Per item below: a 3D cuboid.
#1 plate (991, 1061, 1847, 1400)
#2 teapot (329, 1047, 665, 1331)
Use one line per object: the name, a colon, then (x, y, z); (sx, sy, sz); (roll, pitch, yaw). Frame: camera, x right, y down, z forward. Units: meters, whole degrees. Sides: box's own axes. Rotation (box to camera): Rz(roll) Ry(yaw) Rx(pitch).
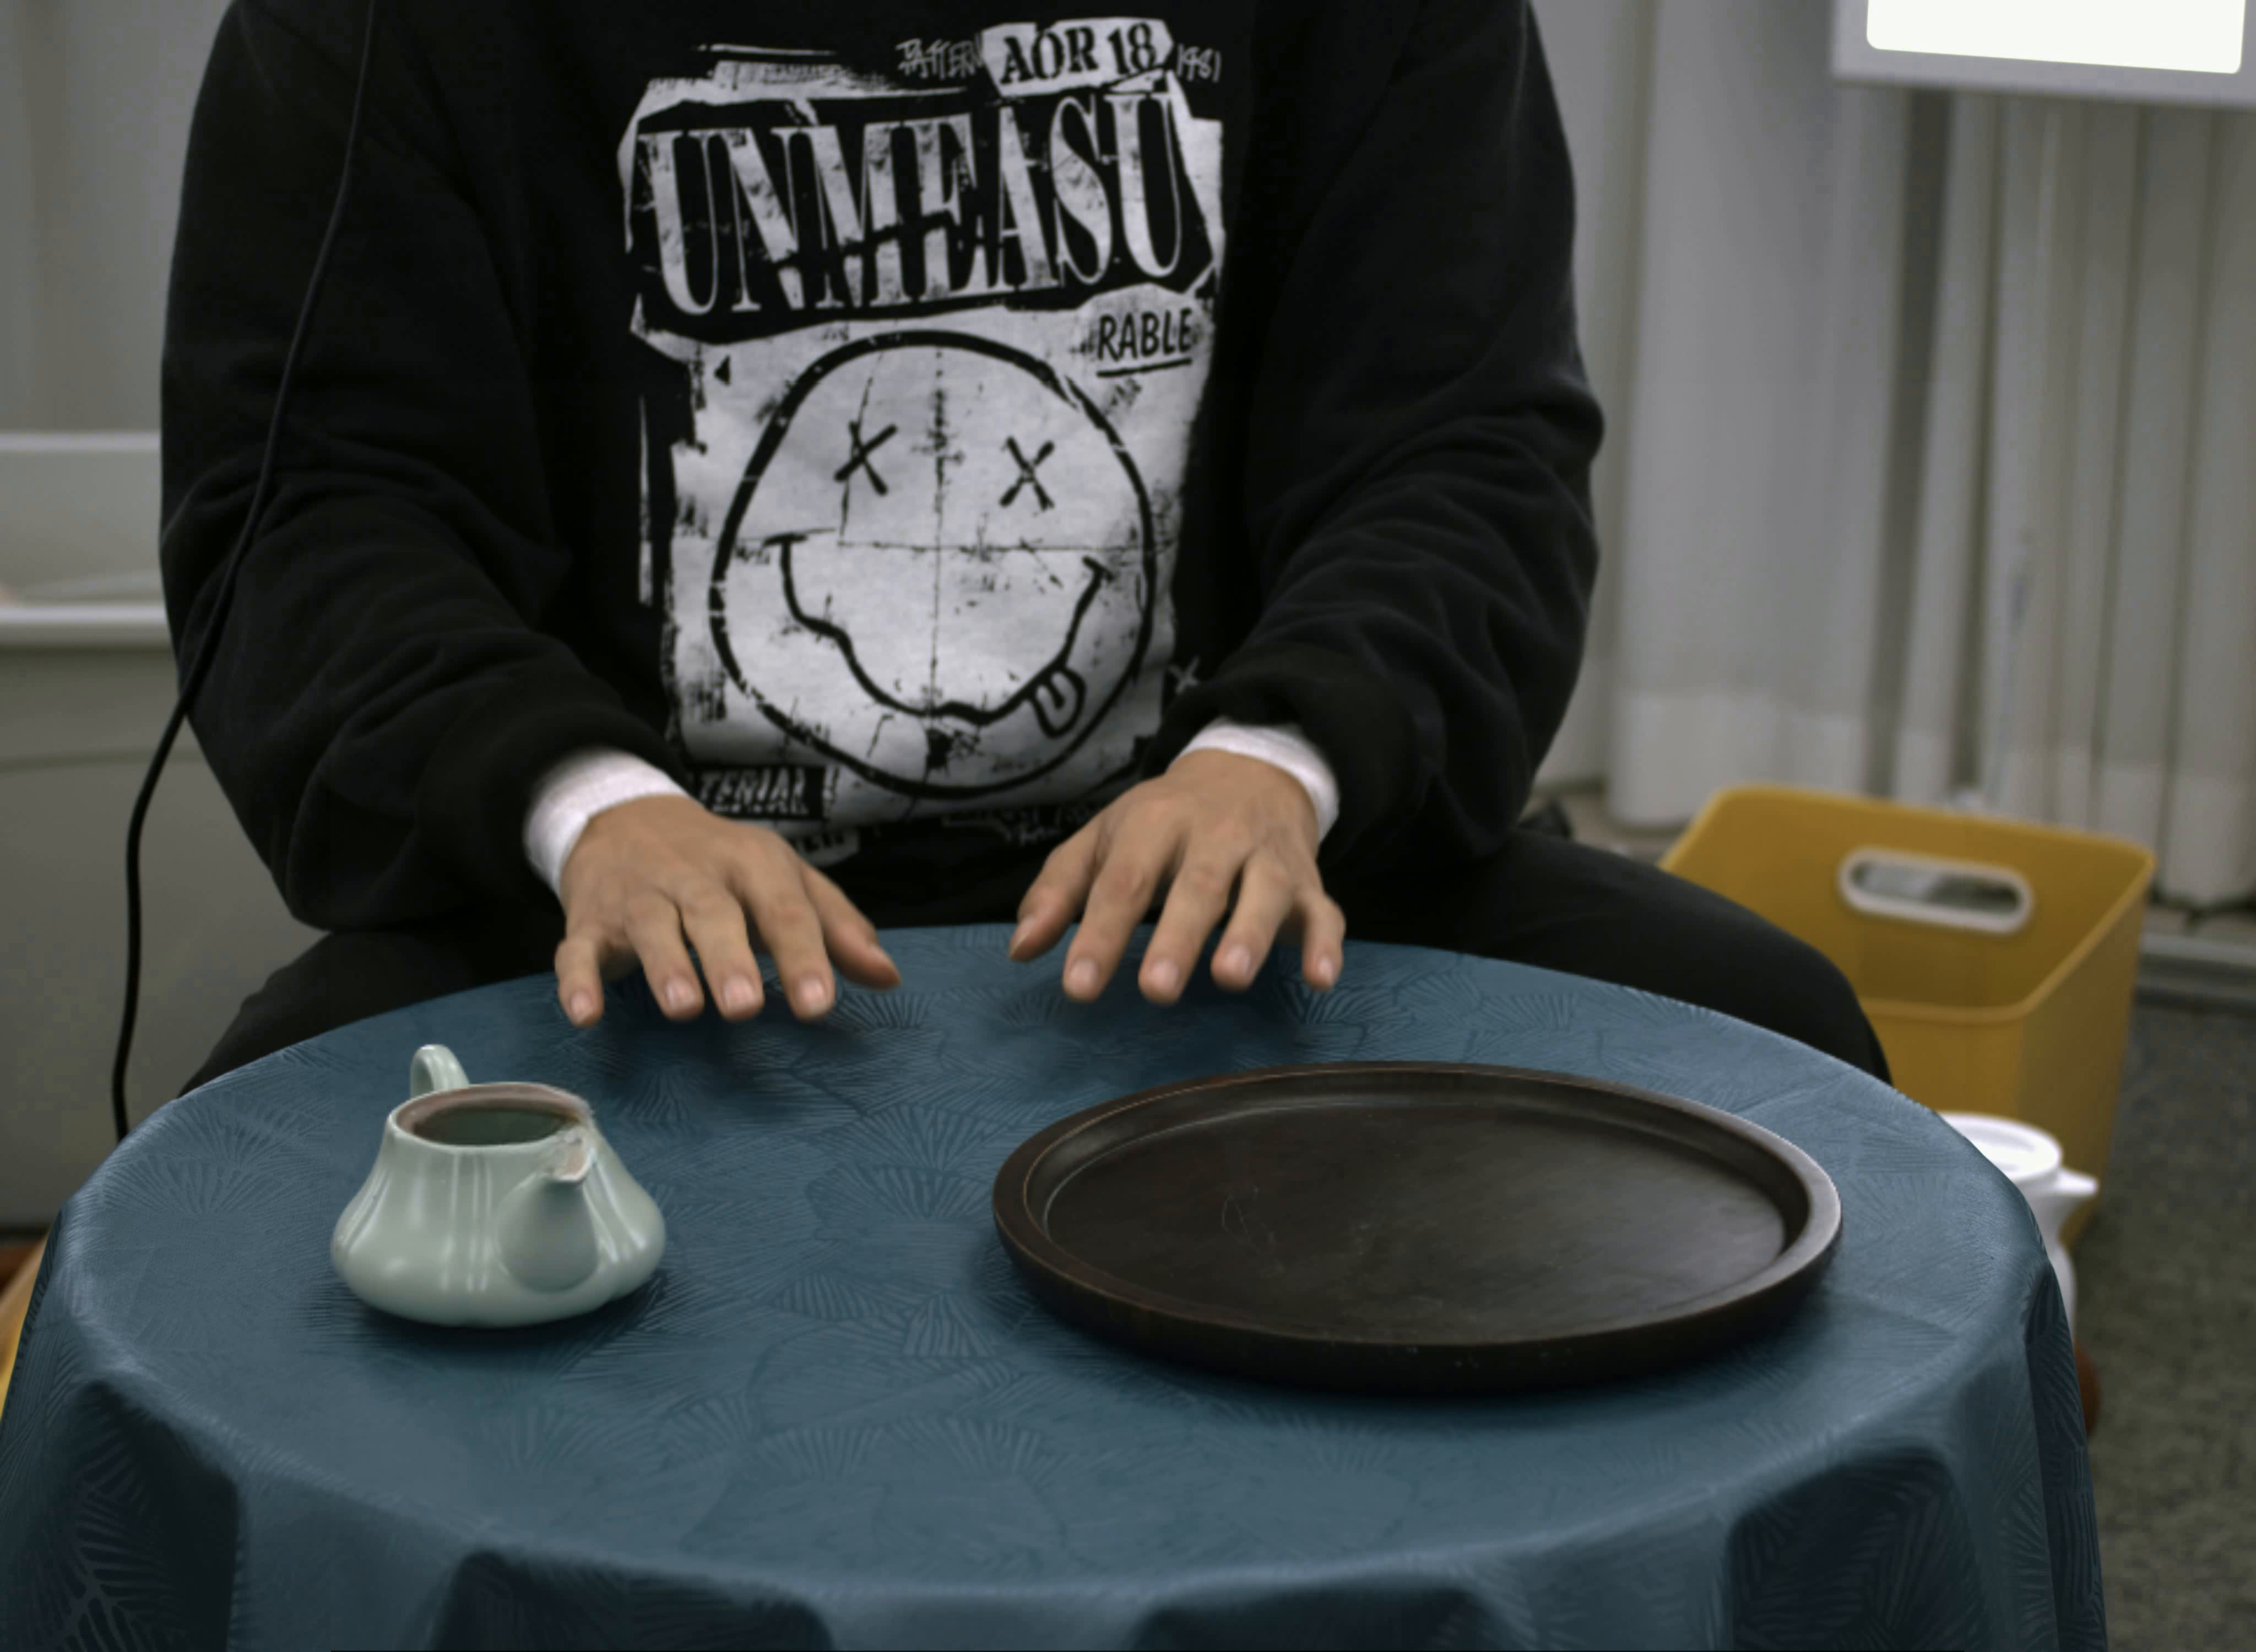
plate: (0.086, 0.117, 1.562); (0.254, 0.029, 0.253); (0, 17, 1)
teapot: (-0.184, 0.107, 1.523); (0.096, 0.062, 0.135); (-10, 19, -27)
